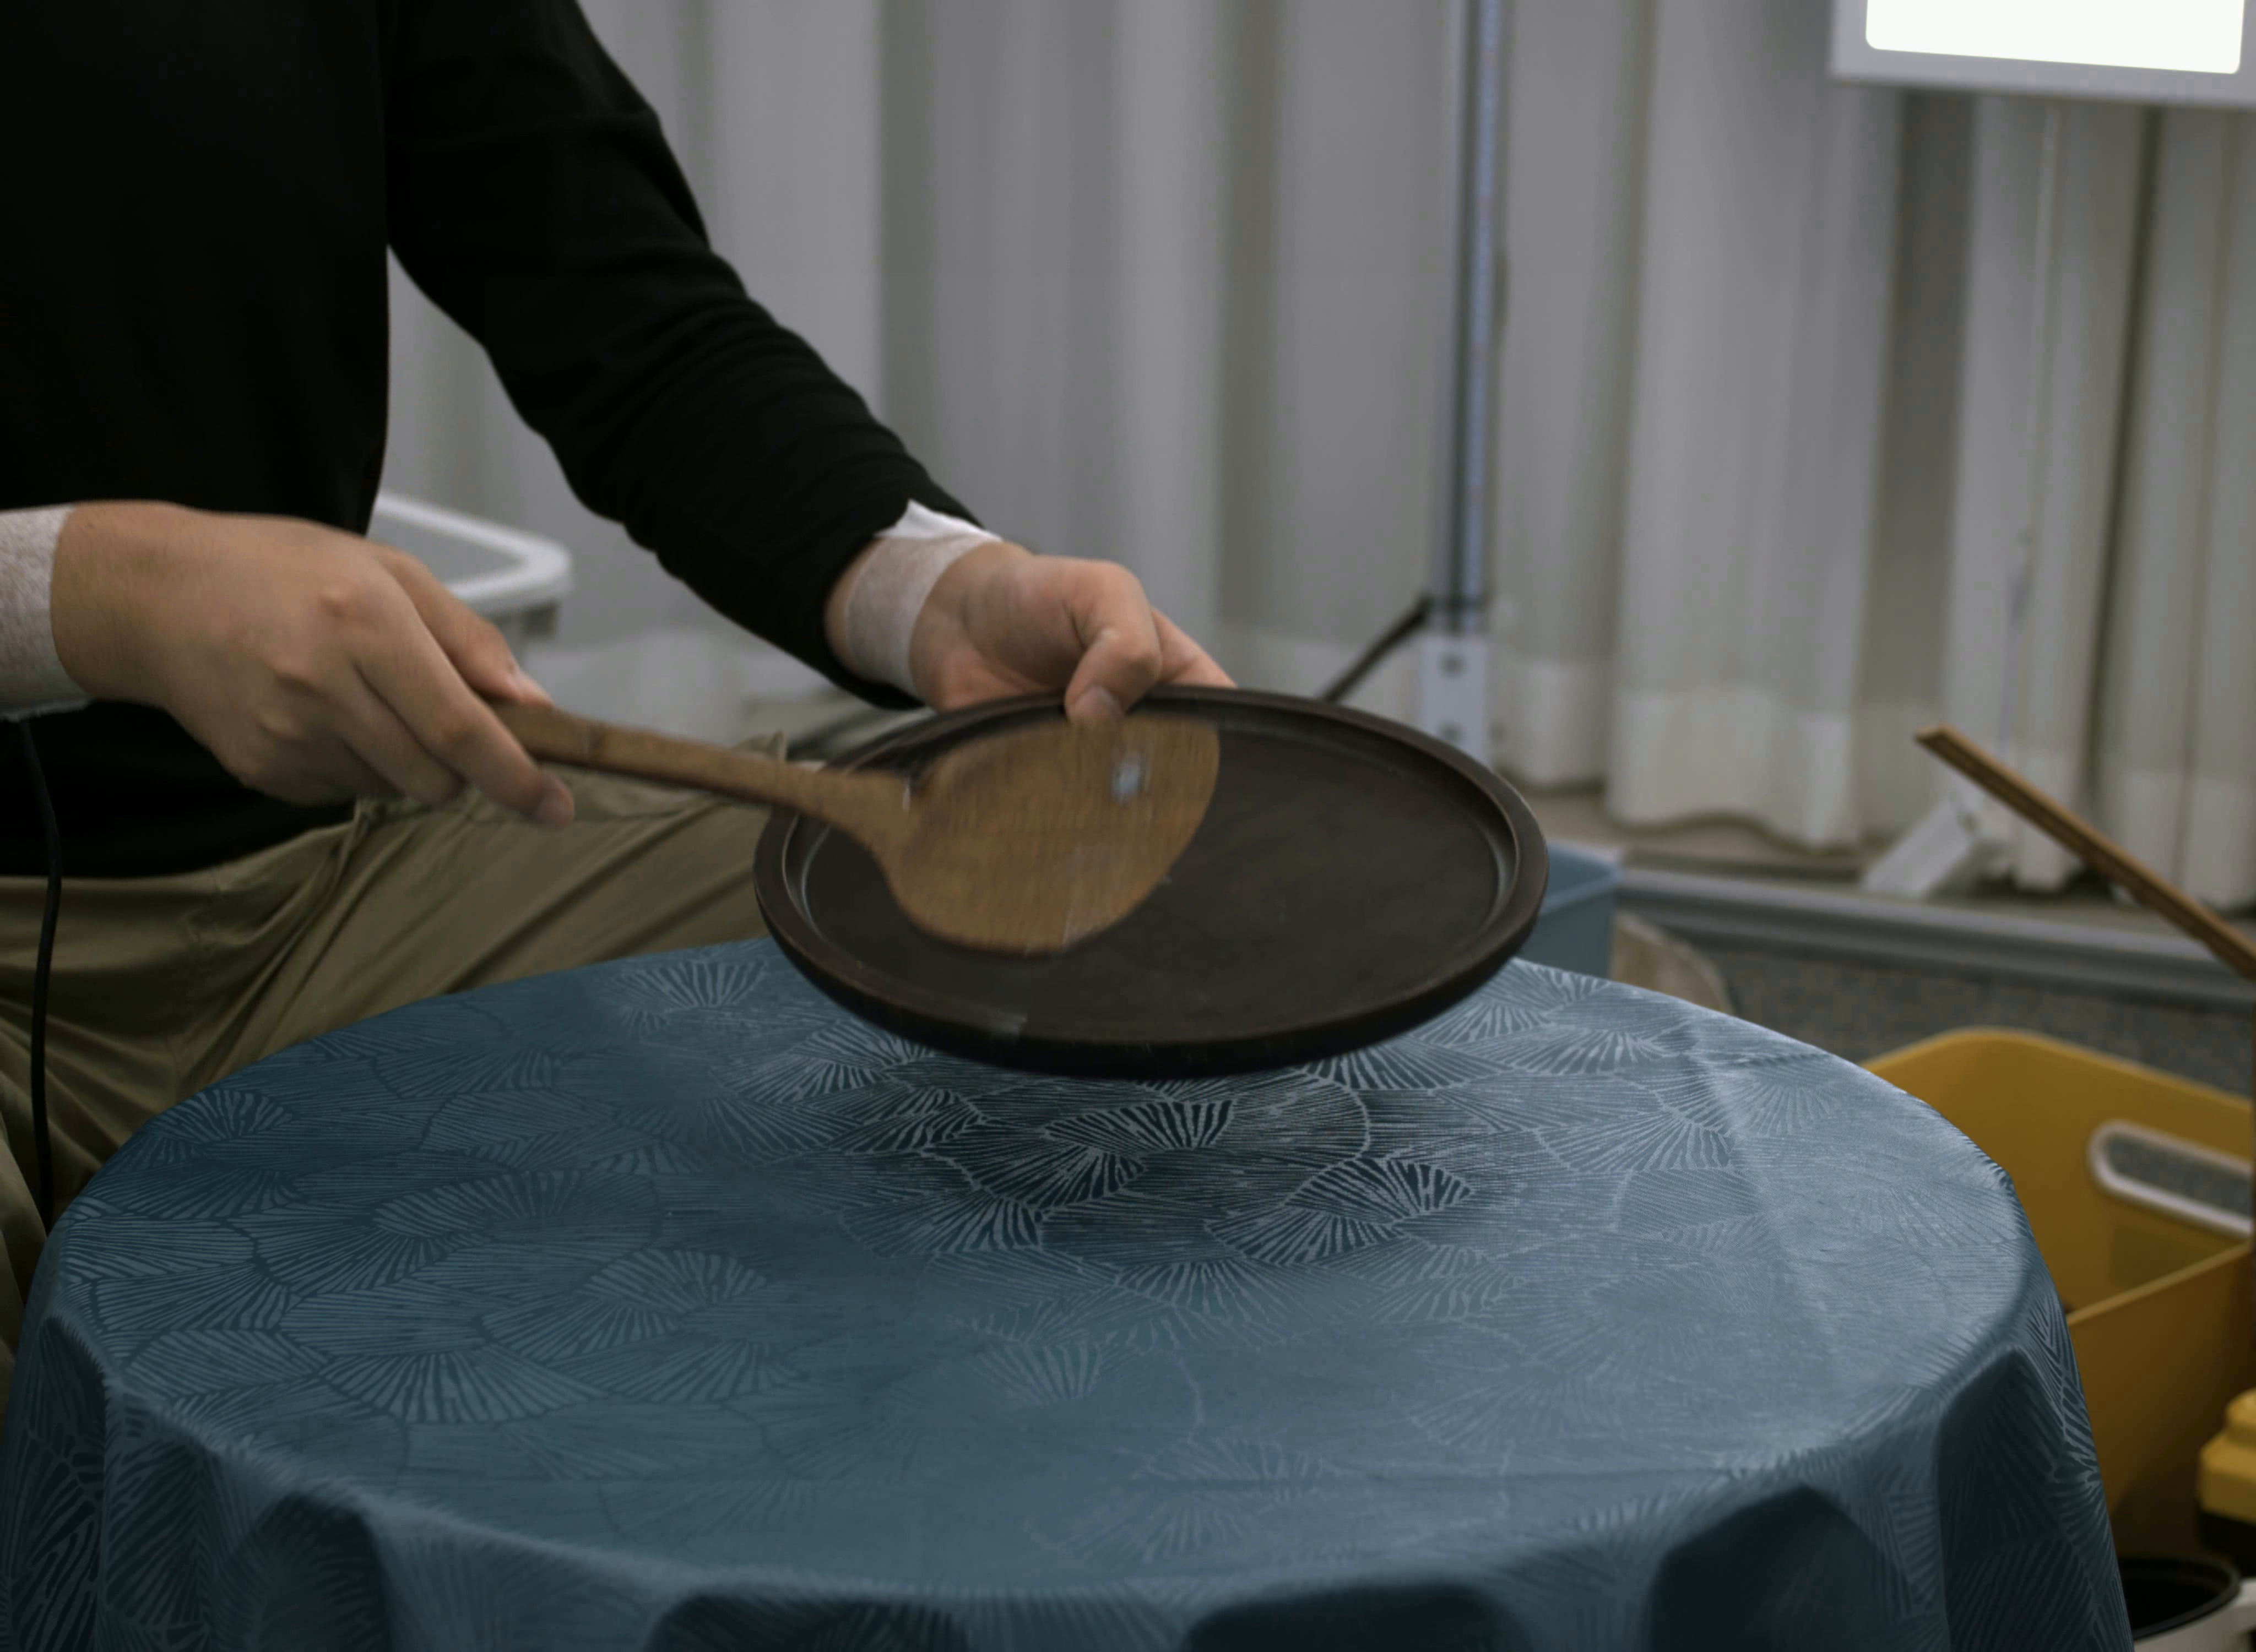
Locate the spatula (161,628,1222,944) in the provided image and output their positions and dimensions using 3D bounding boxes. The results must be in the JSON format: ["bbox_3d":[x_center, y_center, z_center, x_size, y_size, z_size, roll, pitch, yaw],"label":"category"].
[{"bbox_3d":[-0.144,-0.024,1.570,0.381,0.016,0.096,10,52,30],"label":"spatula"}]

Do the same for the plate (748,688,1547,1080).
[{"bbox_3d":[0.006,0.015,1.671,0.254,0.029,0.253,1,27,0],"label":"plate"}]
